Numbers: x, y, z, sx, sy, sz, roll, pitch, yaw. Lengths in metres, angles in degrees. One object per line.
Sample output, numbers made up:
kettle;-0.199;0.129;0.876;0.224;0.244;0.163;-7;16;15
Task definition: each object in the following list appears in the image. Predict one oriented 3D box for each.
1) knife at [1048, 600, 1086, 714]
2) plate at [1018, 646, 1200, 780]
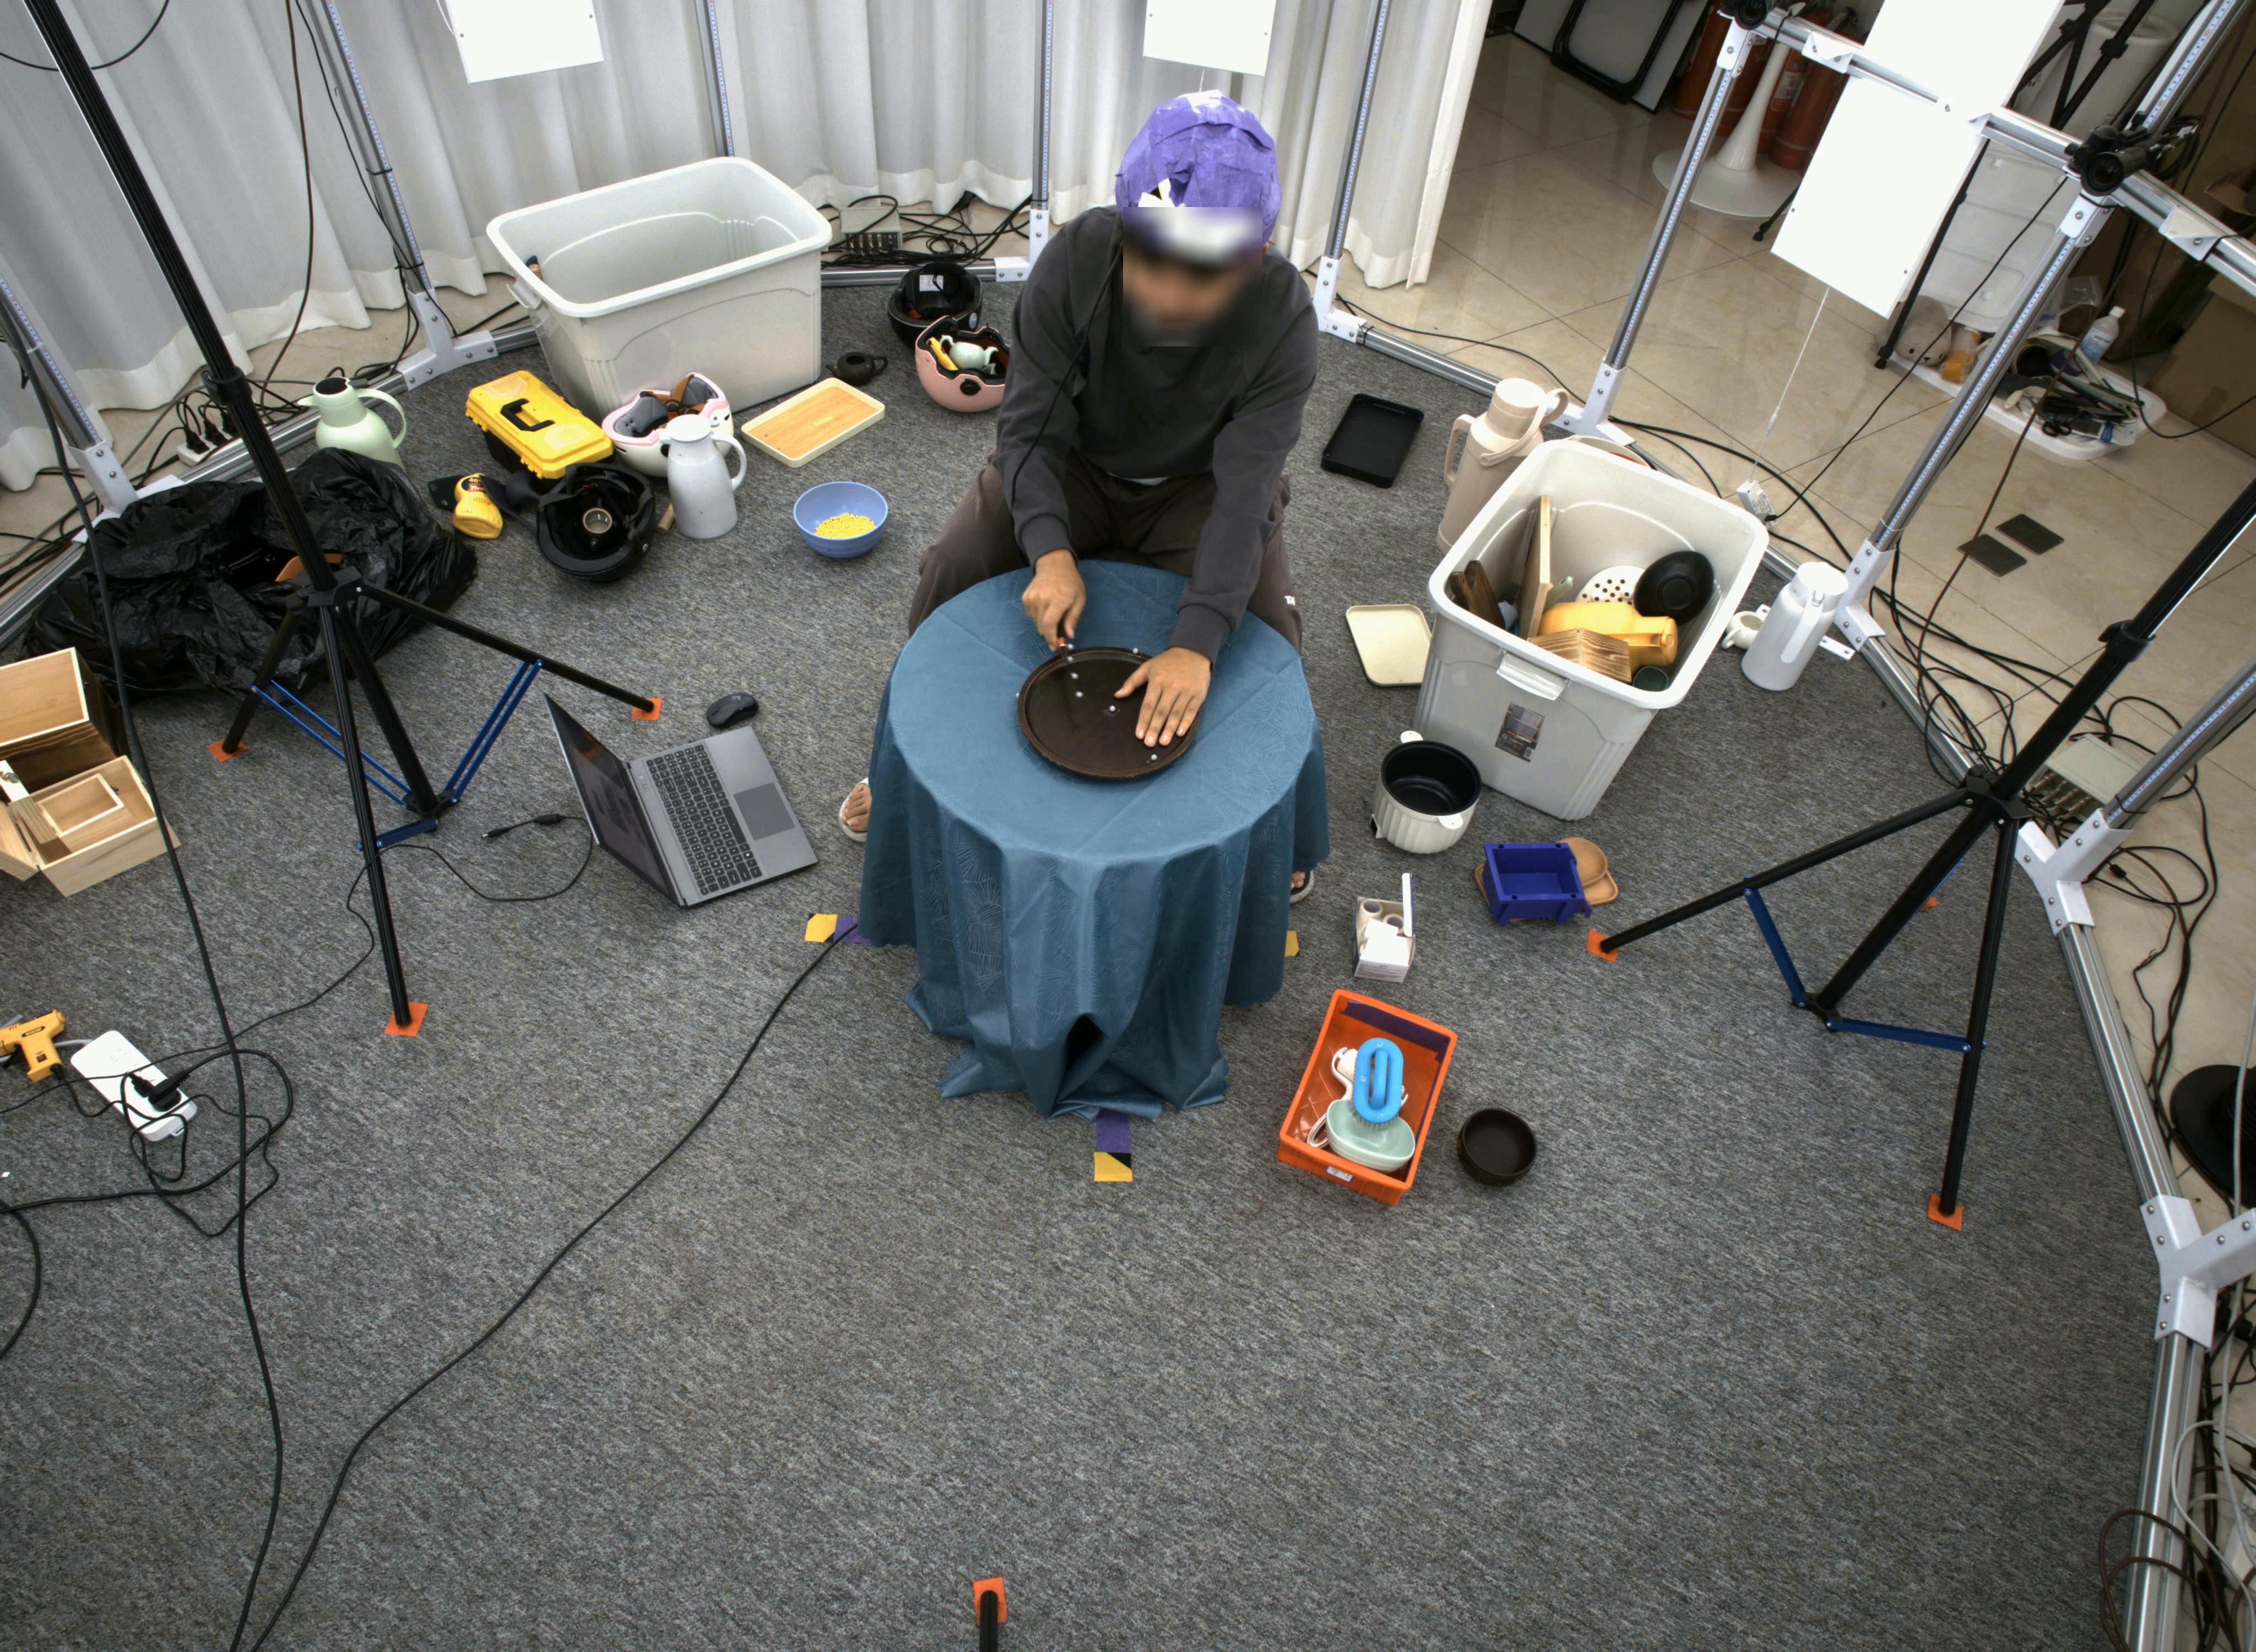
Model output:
knife;-0.086;-0.241;1.810;0.017;0.025;0.231;-11;50;-7
plate;-0.027;-0.158;1.786;0.254;0.028;0.261;2;48;-2
